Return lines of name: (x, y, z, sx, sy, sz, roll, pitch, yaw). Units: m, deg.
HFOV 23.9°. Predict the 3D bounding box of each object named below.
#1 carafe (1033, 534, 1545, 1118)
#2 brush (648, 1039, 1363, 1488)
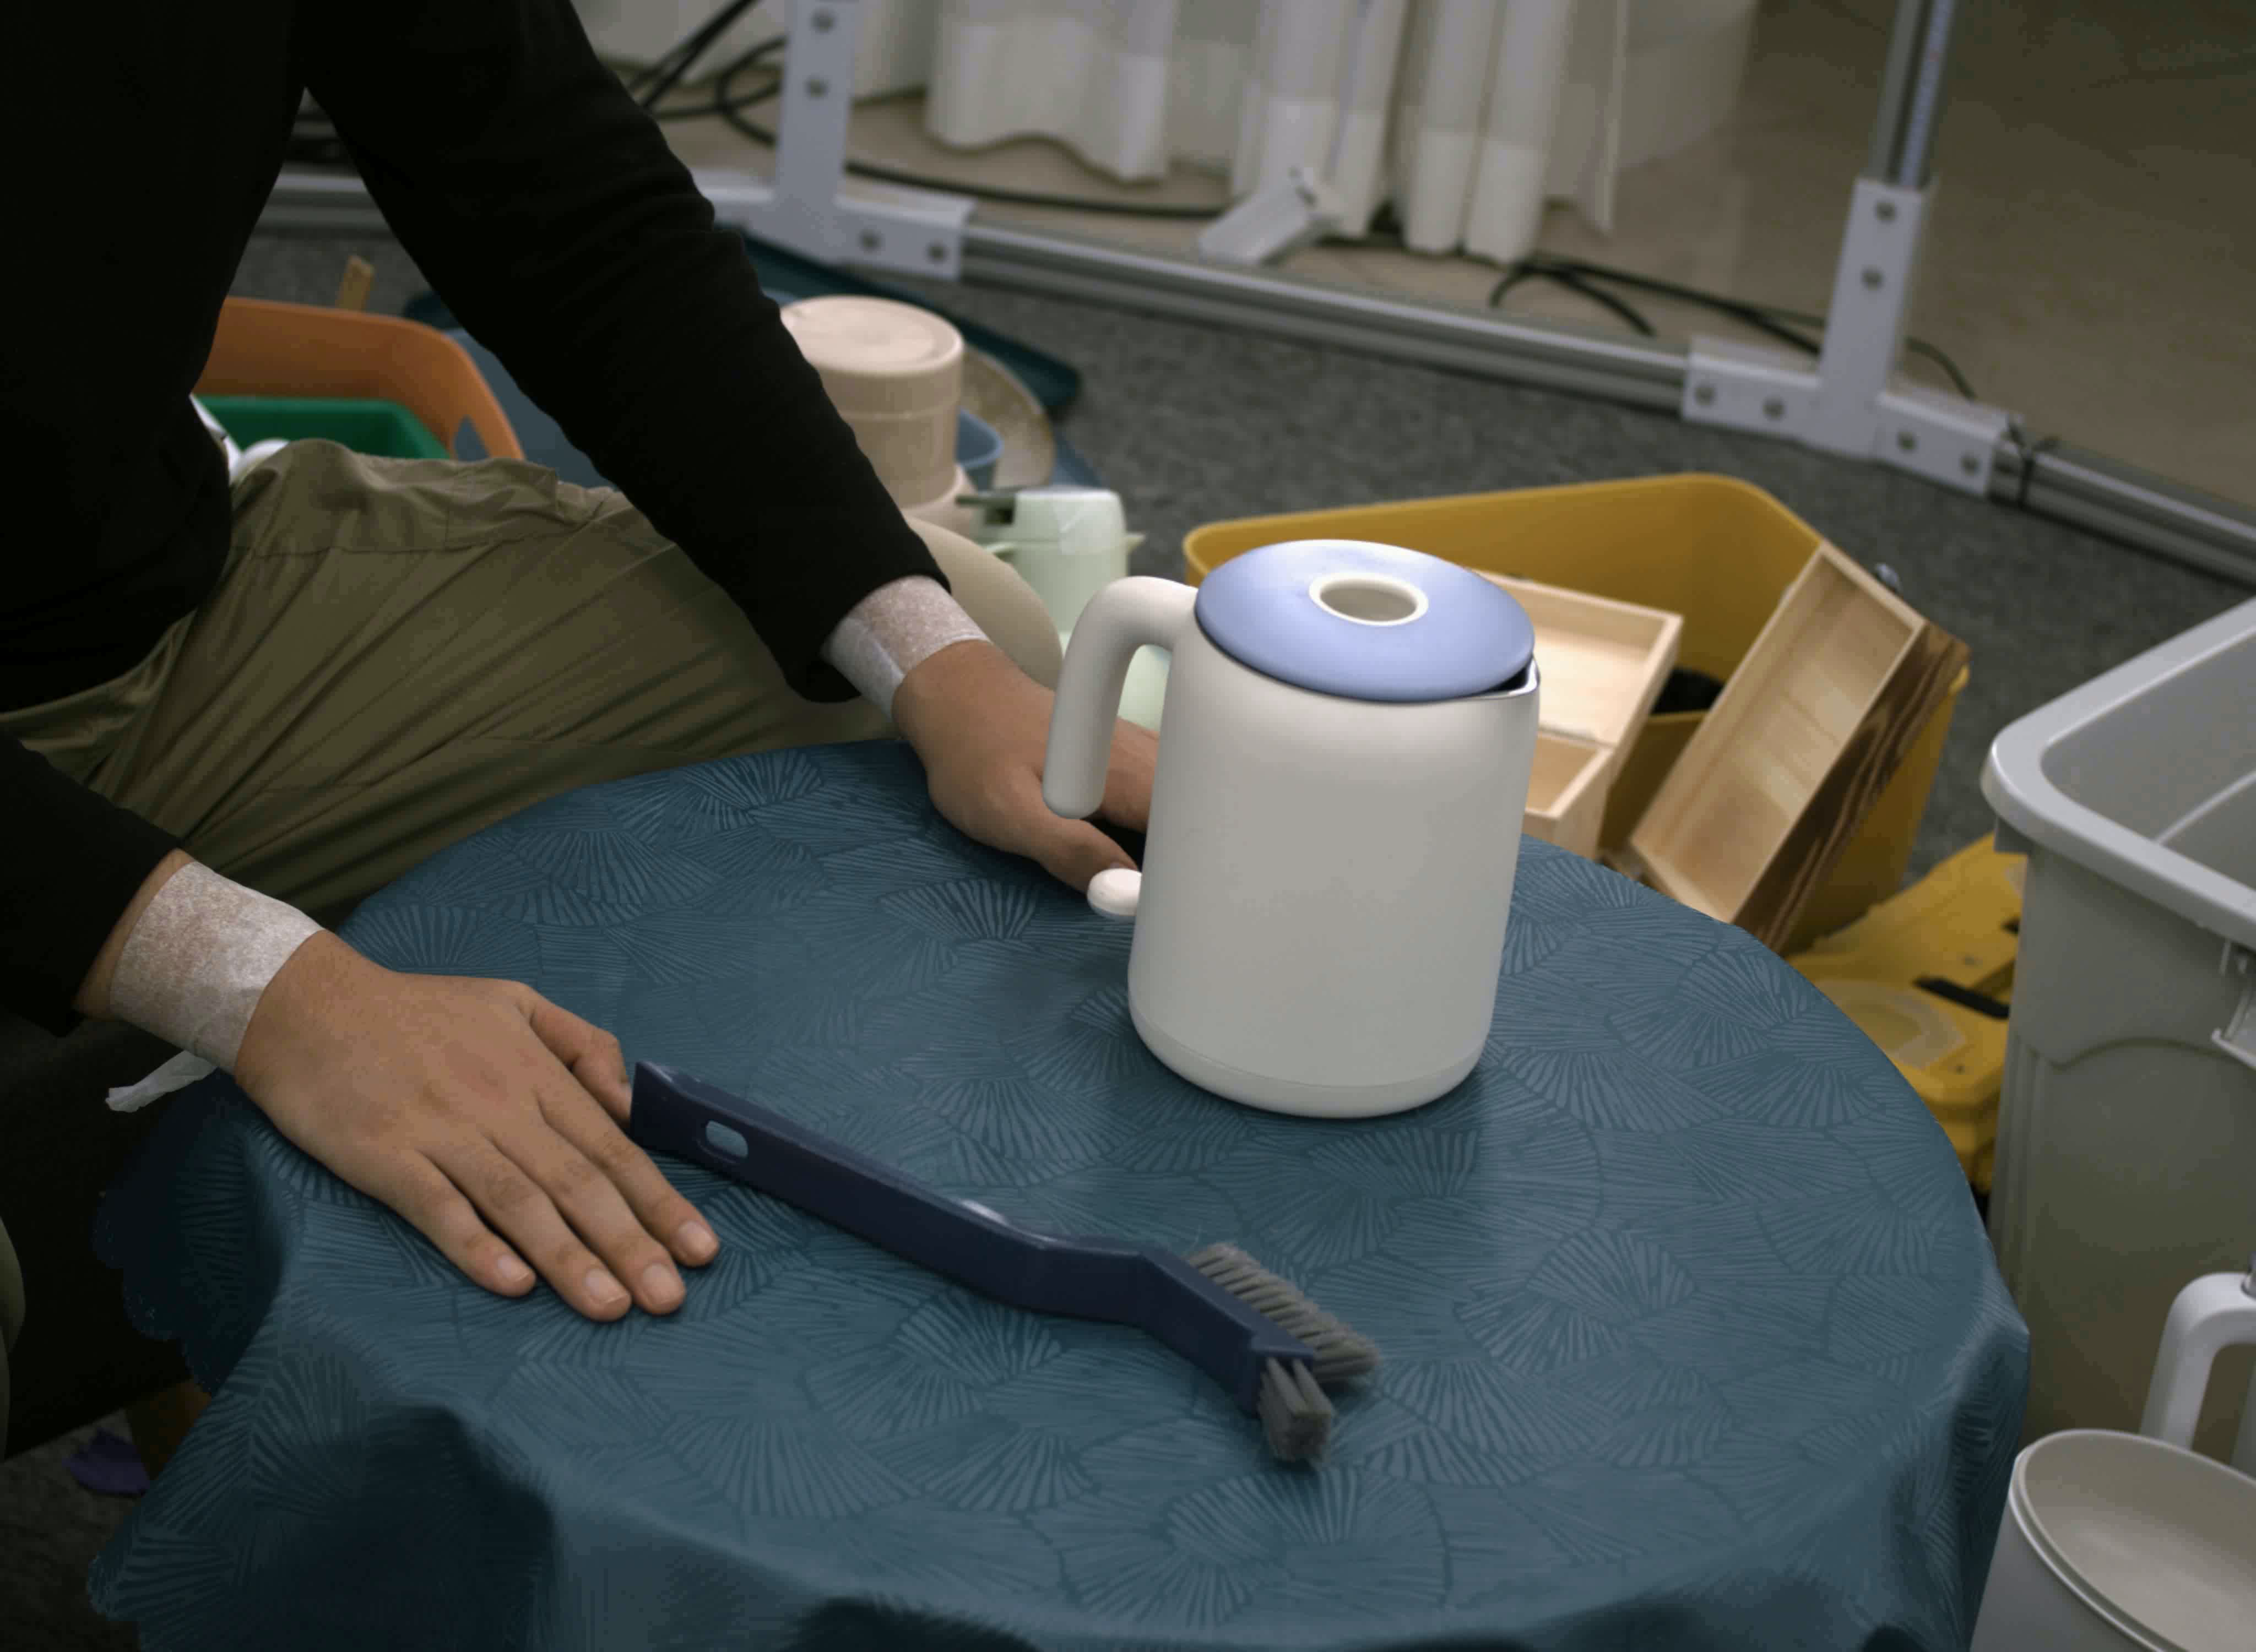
carafe: (0.052, -0.008, 1.883, 0.192, 0.182, 0.132, 19, 29, 26)
brush: (-0.052, 0.138, 1.729, 0.274, 0.033, 0.096, 18, 32, 20)
